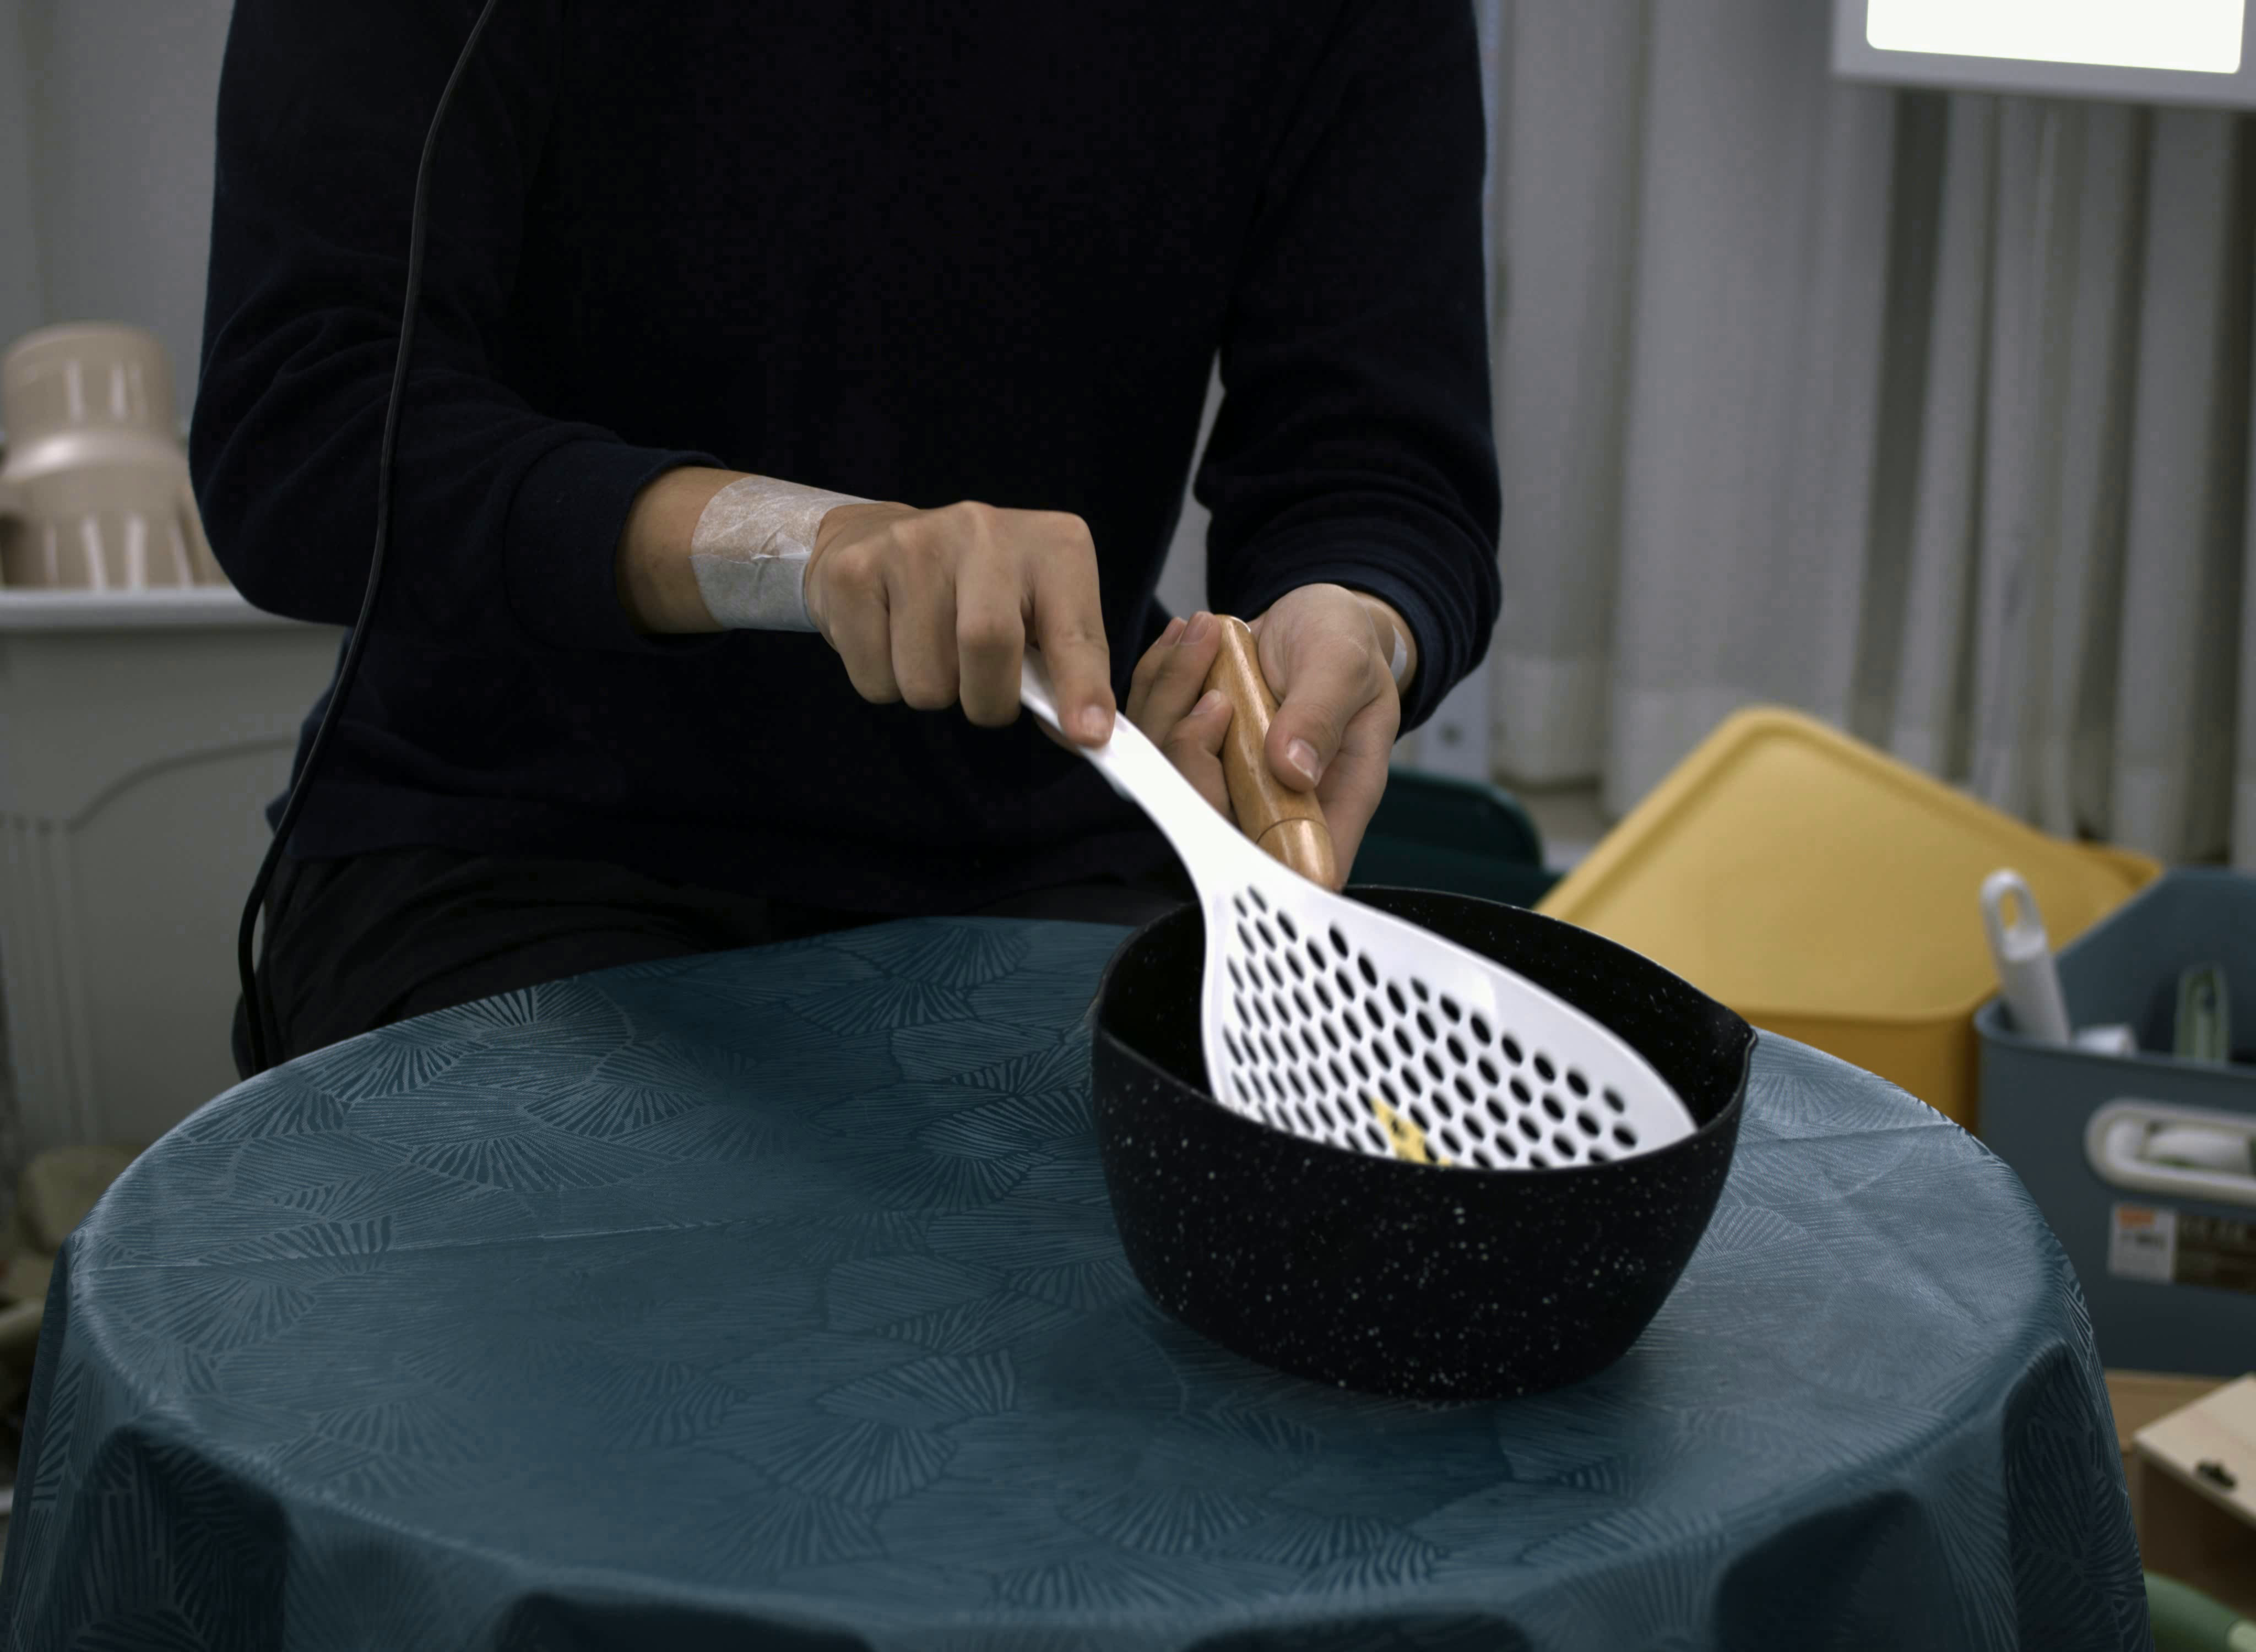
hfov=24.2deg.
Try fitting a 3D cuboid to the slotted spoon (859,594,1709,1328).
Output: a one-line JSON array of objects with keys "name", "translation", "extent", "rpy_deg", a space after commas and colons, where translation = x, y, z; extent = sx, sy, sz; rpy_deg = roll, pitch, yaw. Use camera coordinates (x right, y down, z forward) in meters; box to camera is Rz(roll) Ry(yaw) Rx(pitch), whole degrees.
[{"name": "slotted spoon", "translation": [0.030, 0.028, 1.541], "extent": [0.137, 0.051, 0.344], "rpy_deg": [-21, 57, -32]}]

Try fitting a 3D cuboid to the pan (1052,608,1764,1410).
[{"name": "pan", "translation": [0.060, 0.049, 1.563], "extent": [0.208, 0.109, 0.339], "rpy_deg": [-1, 26, -16]}]
